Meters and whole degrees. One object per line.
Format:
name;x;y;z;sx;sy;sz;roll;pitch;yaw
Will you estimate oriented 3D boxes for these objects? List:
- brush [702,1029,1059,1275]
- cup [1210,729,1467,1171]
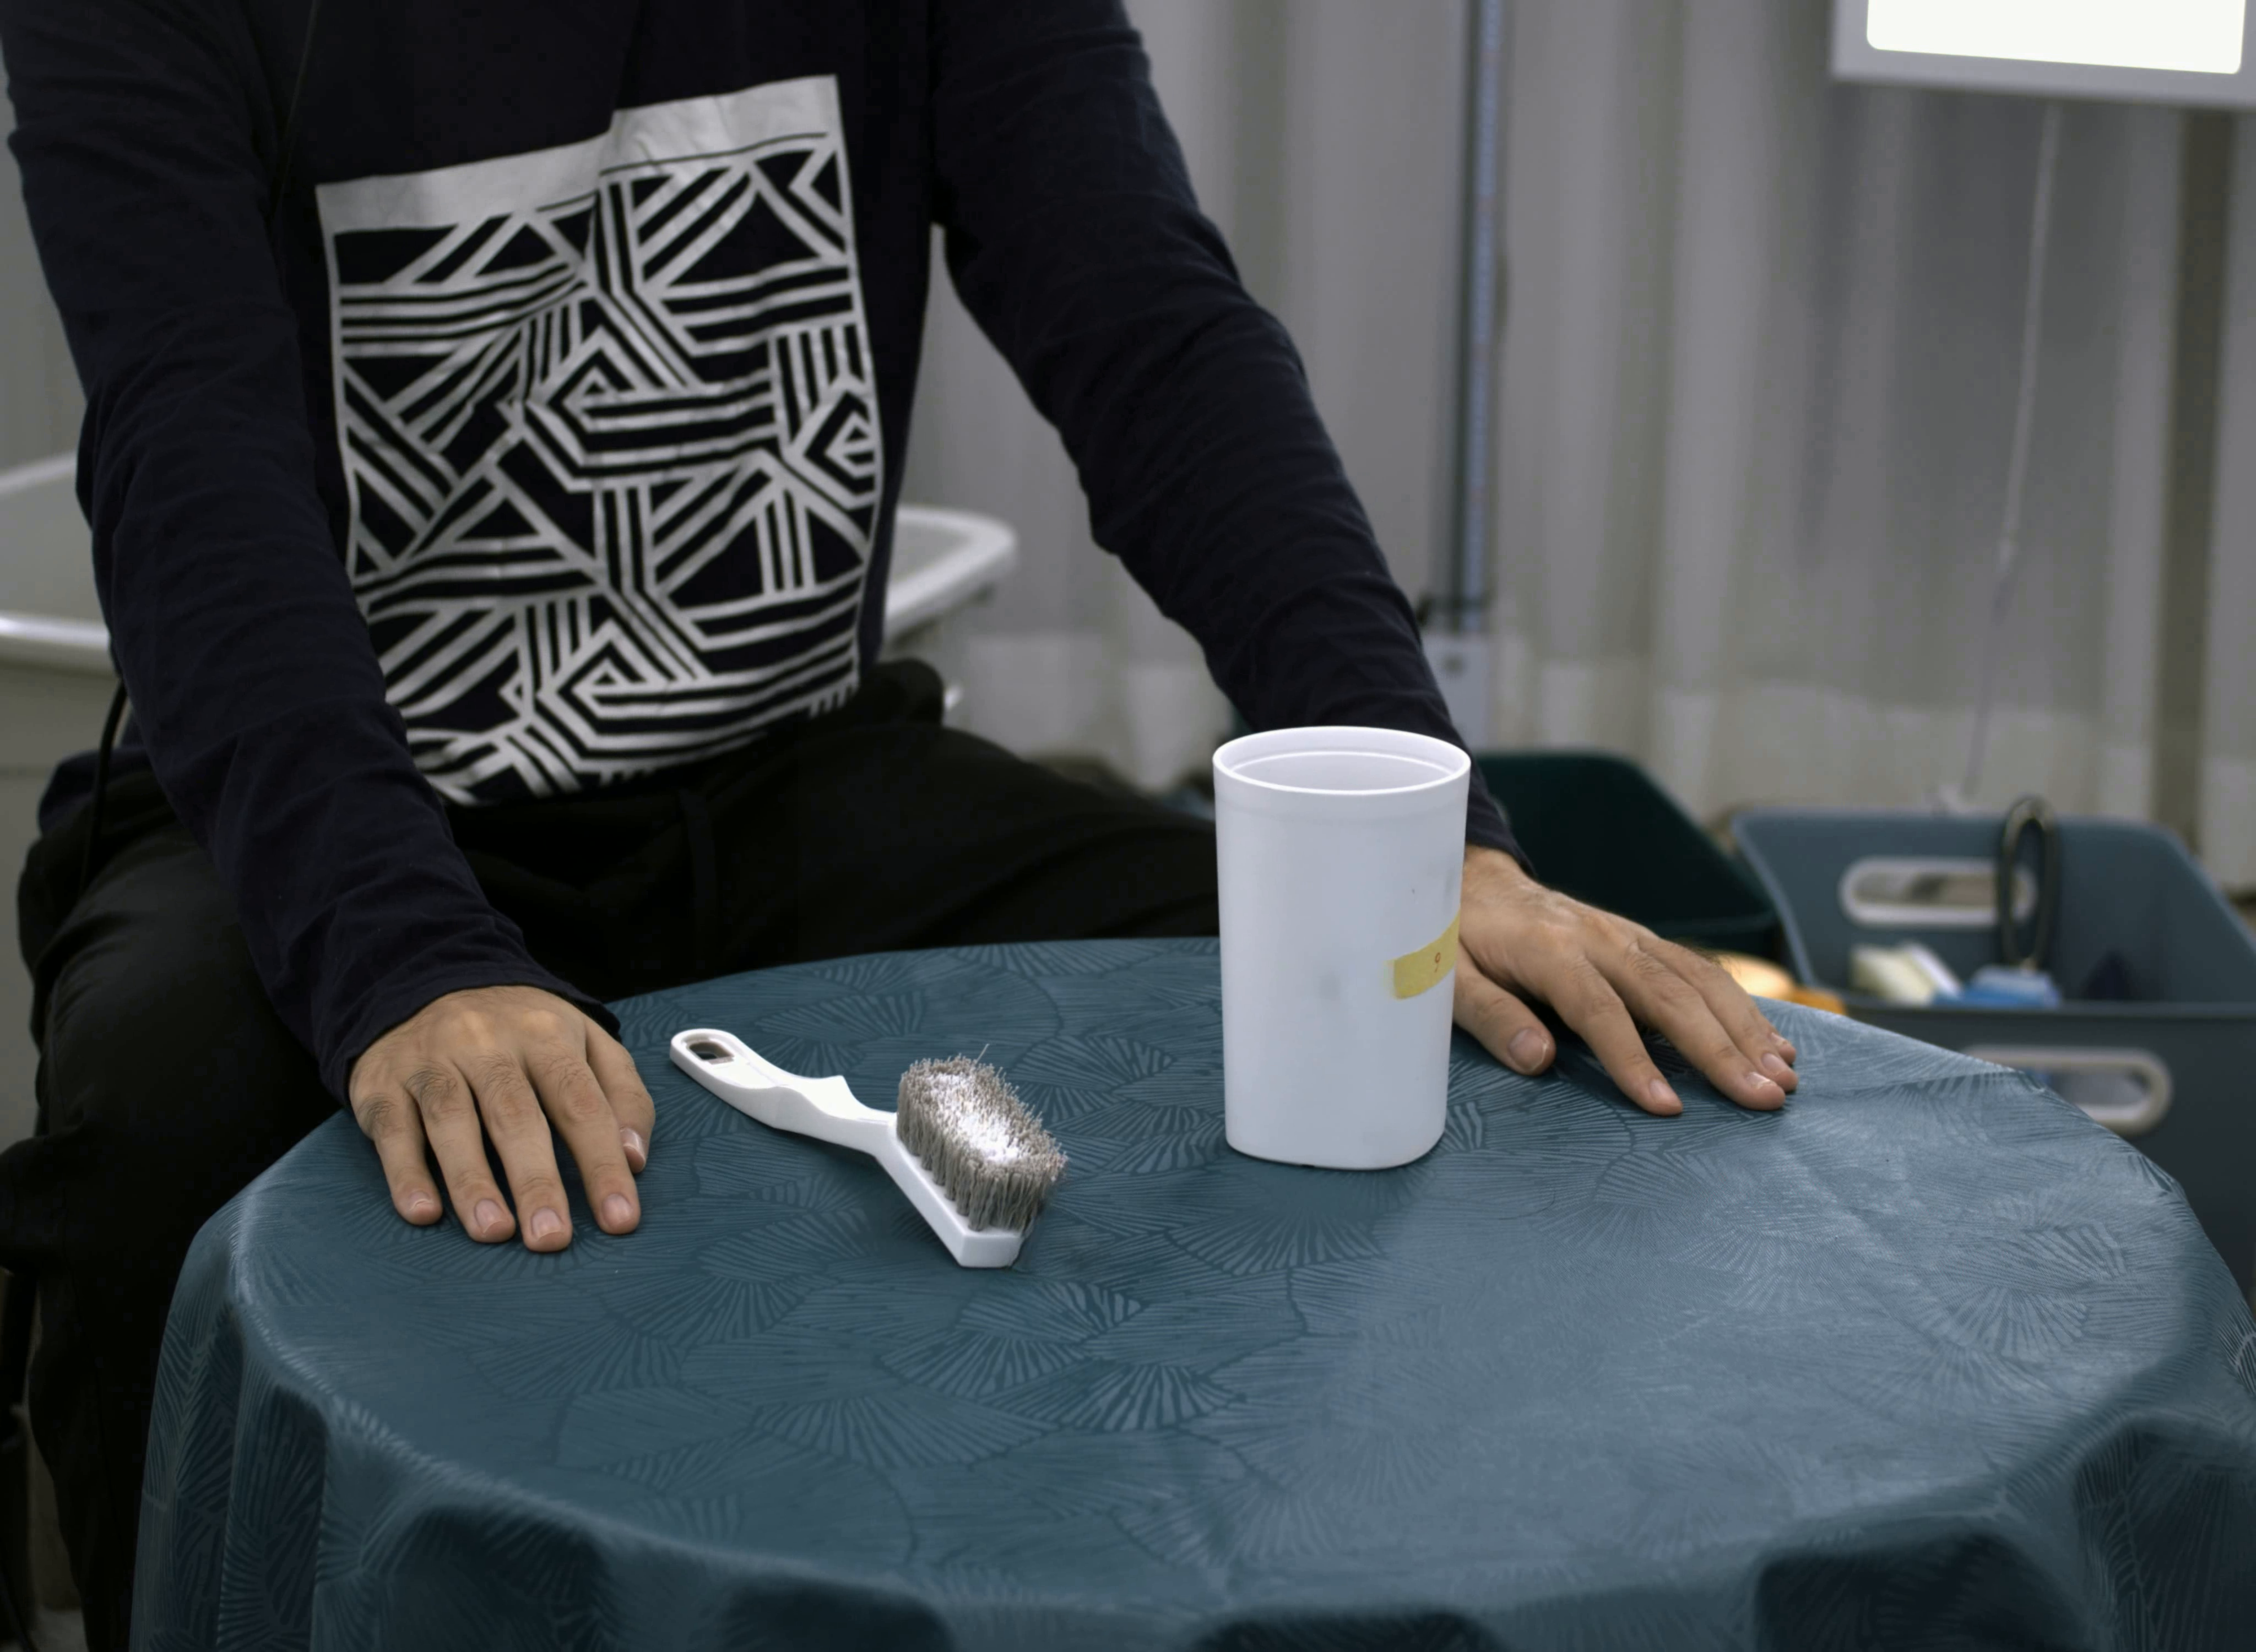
brush;-0.083;0.082;1.646;0.034;0.050;0.240;-12;19;-23
cup;0.066;0.039;1.661;0.081;0.126;0.081;0;15;0
